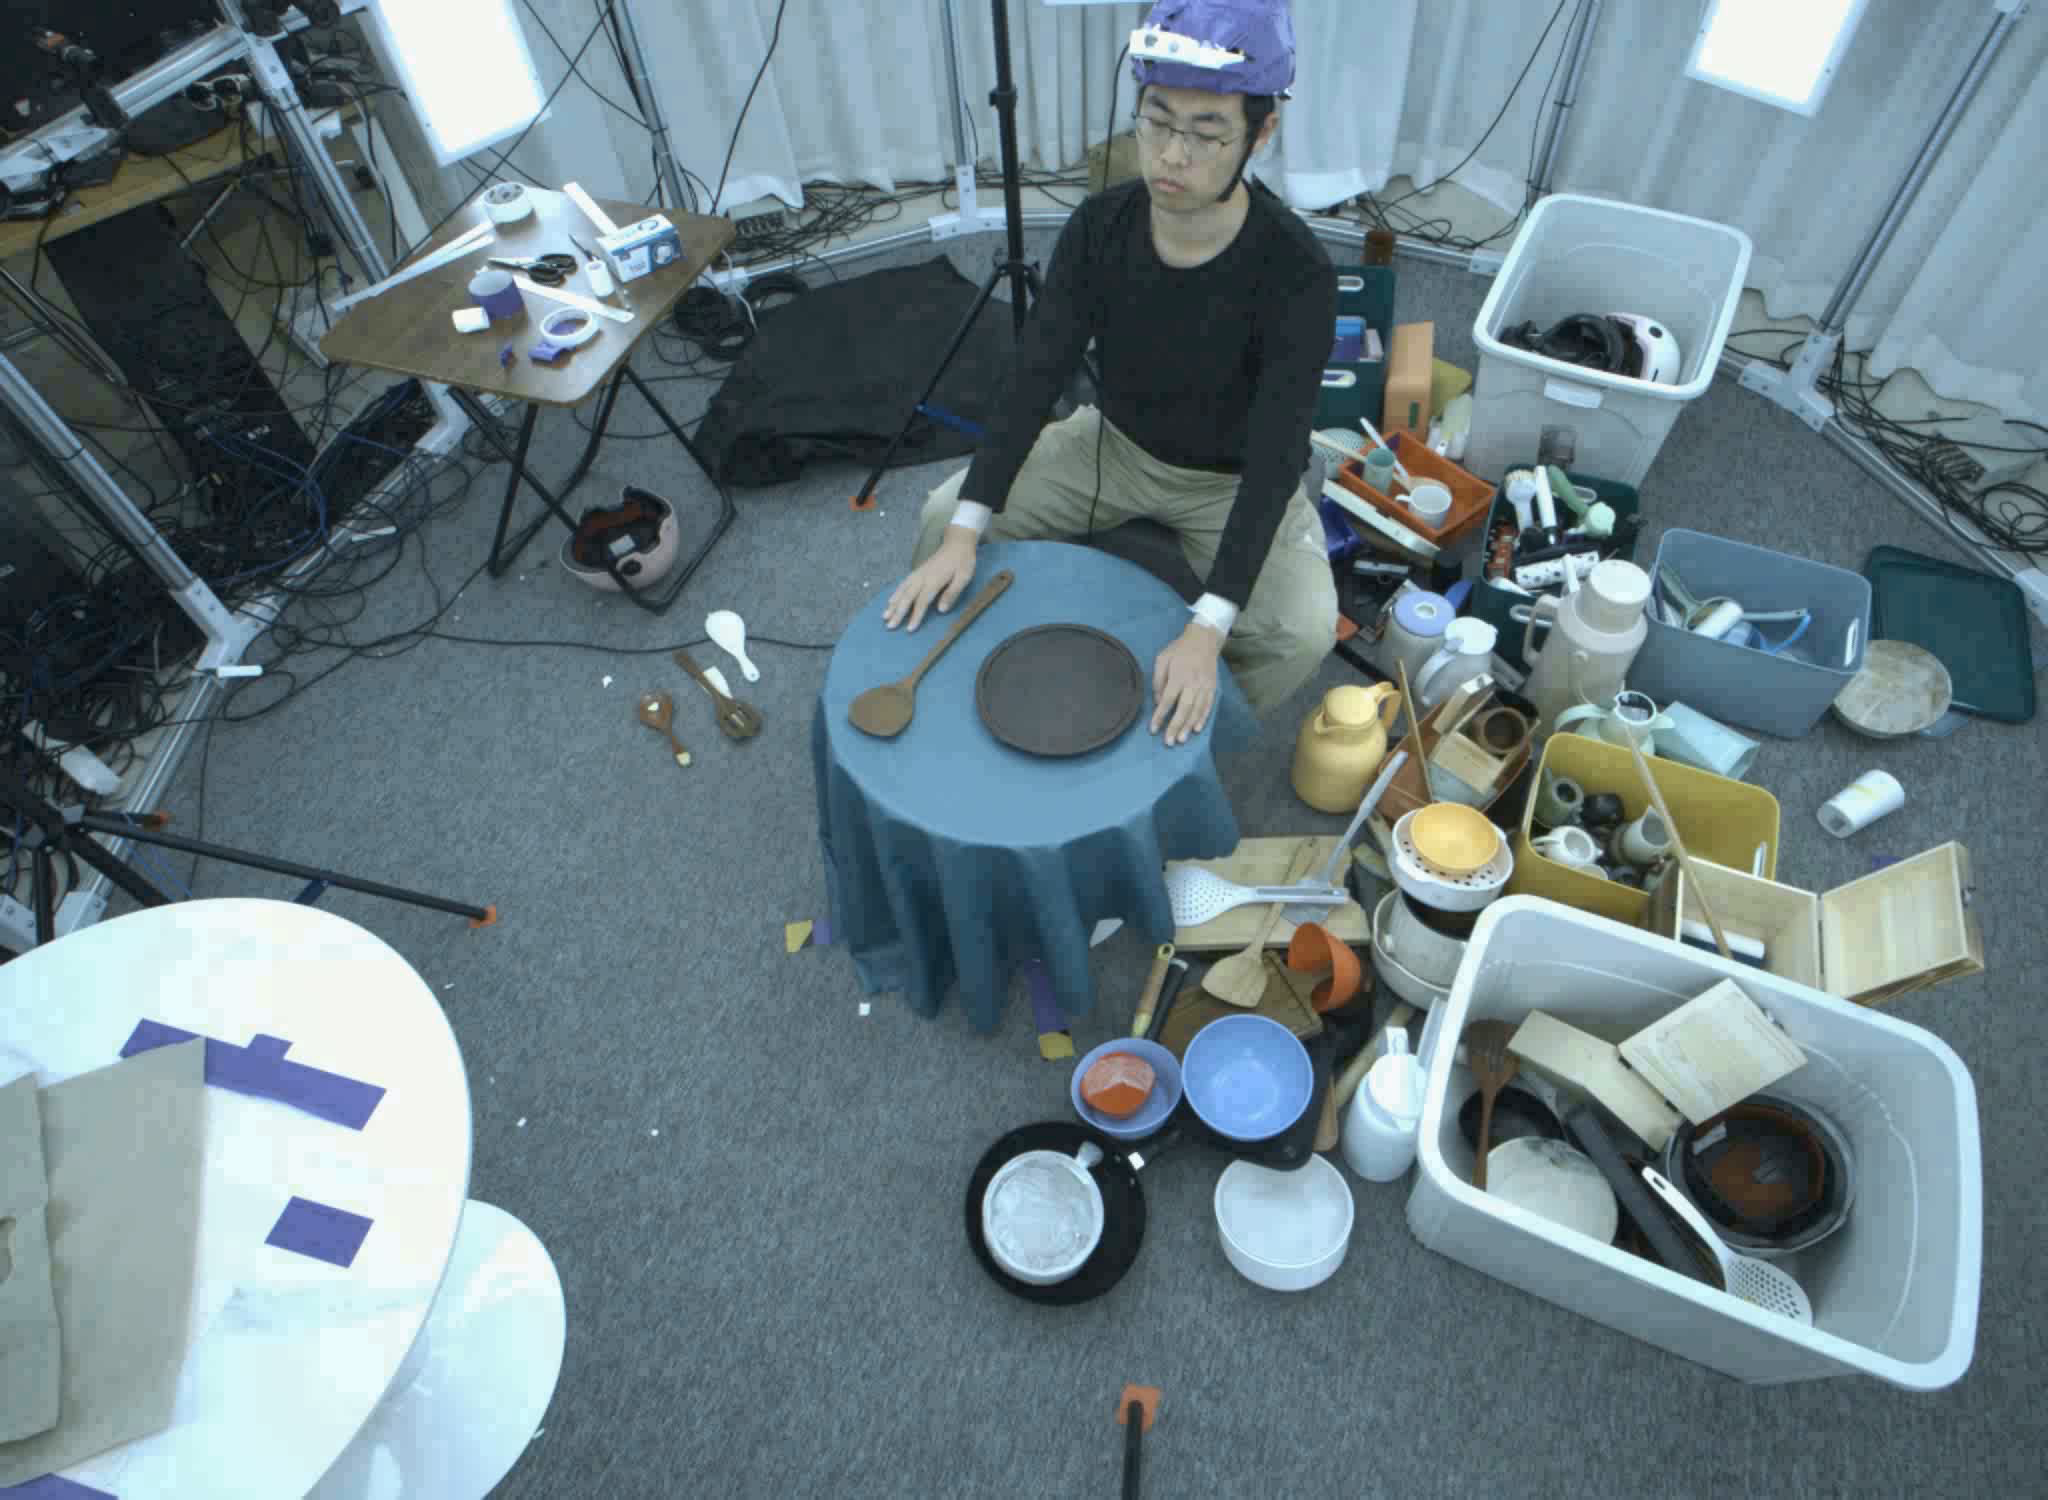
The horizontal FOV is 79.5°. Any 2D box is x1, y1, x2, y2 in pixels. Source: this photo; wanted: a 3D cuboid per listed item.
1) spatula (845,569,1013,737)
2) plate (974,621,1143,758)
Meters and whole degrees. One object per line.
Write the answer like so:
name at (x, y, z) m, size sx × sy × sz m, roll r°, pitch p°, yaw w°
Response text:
spatula at (-0.131, -0.161, 1.897) m, size 0.095 × 0.016 × 0.387 m, roll 28°, pitch 60°, yaw 19°
plate at (0.052, -0.091, 1.837) m, size 0.254 × 0.029 × 0.252 m, roll -1°, pitch 55°, yaw 3°
